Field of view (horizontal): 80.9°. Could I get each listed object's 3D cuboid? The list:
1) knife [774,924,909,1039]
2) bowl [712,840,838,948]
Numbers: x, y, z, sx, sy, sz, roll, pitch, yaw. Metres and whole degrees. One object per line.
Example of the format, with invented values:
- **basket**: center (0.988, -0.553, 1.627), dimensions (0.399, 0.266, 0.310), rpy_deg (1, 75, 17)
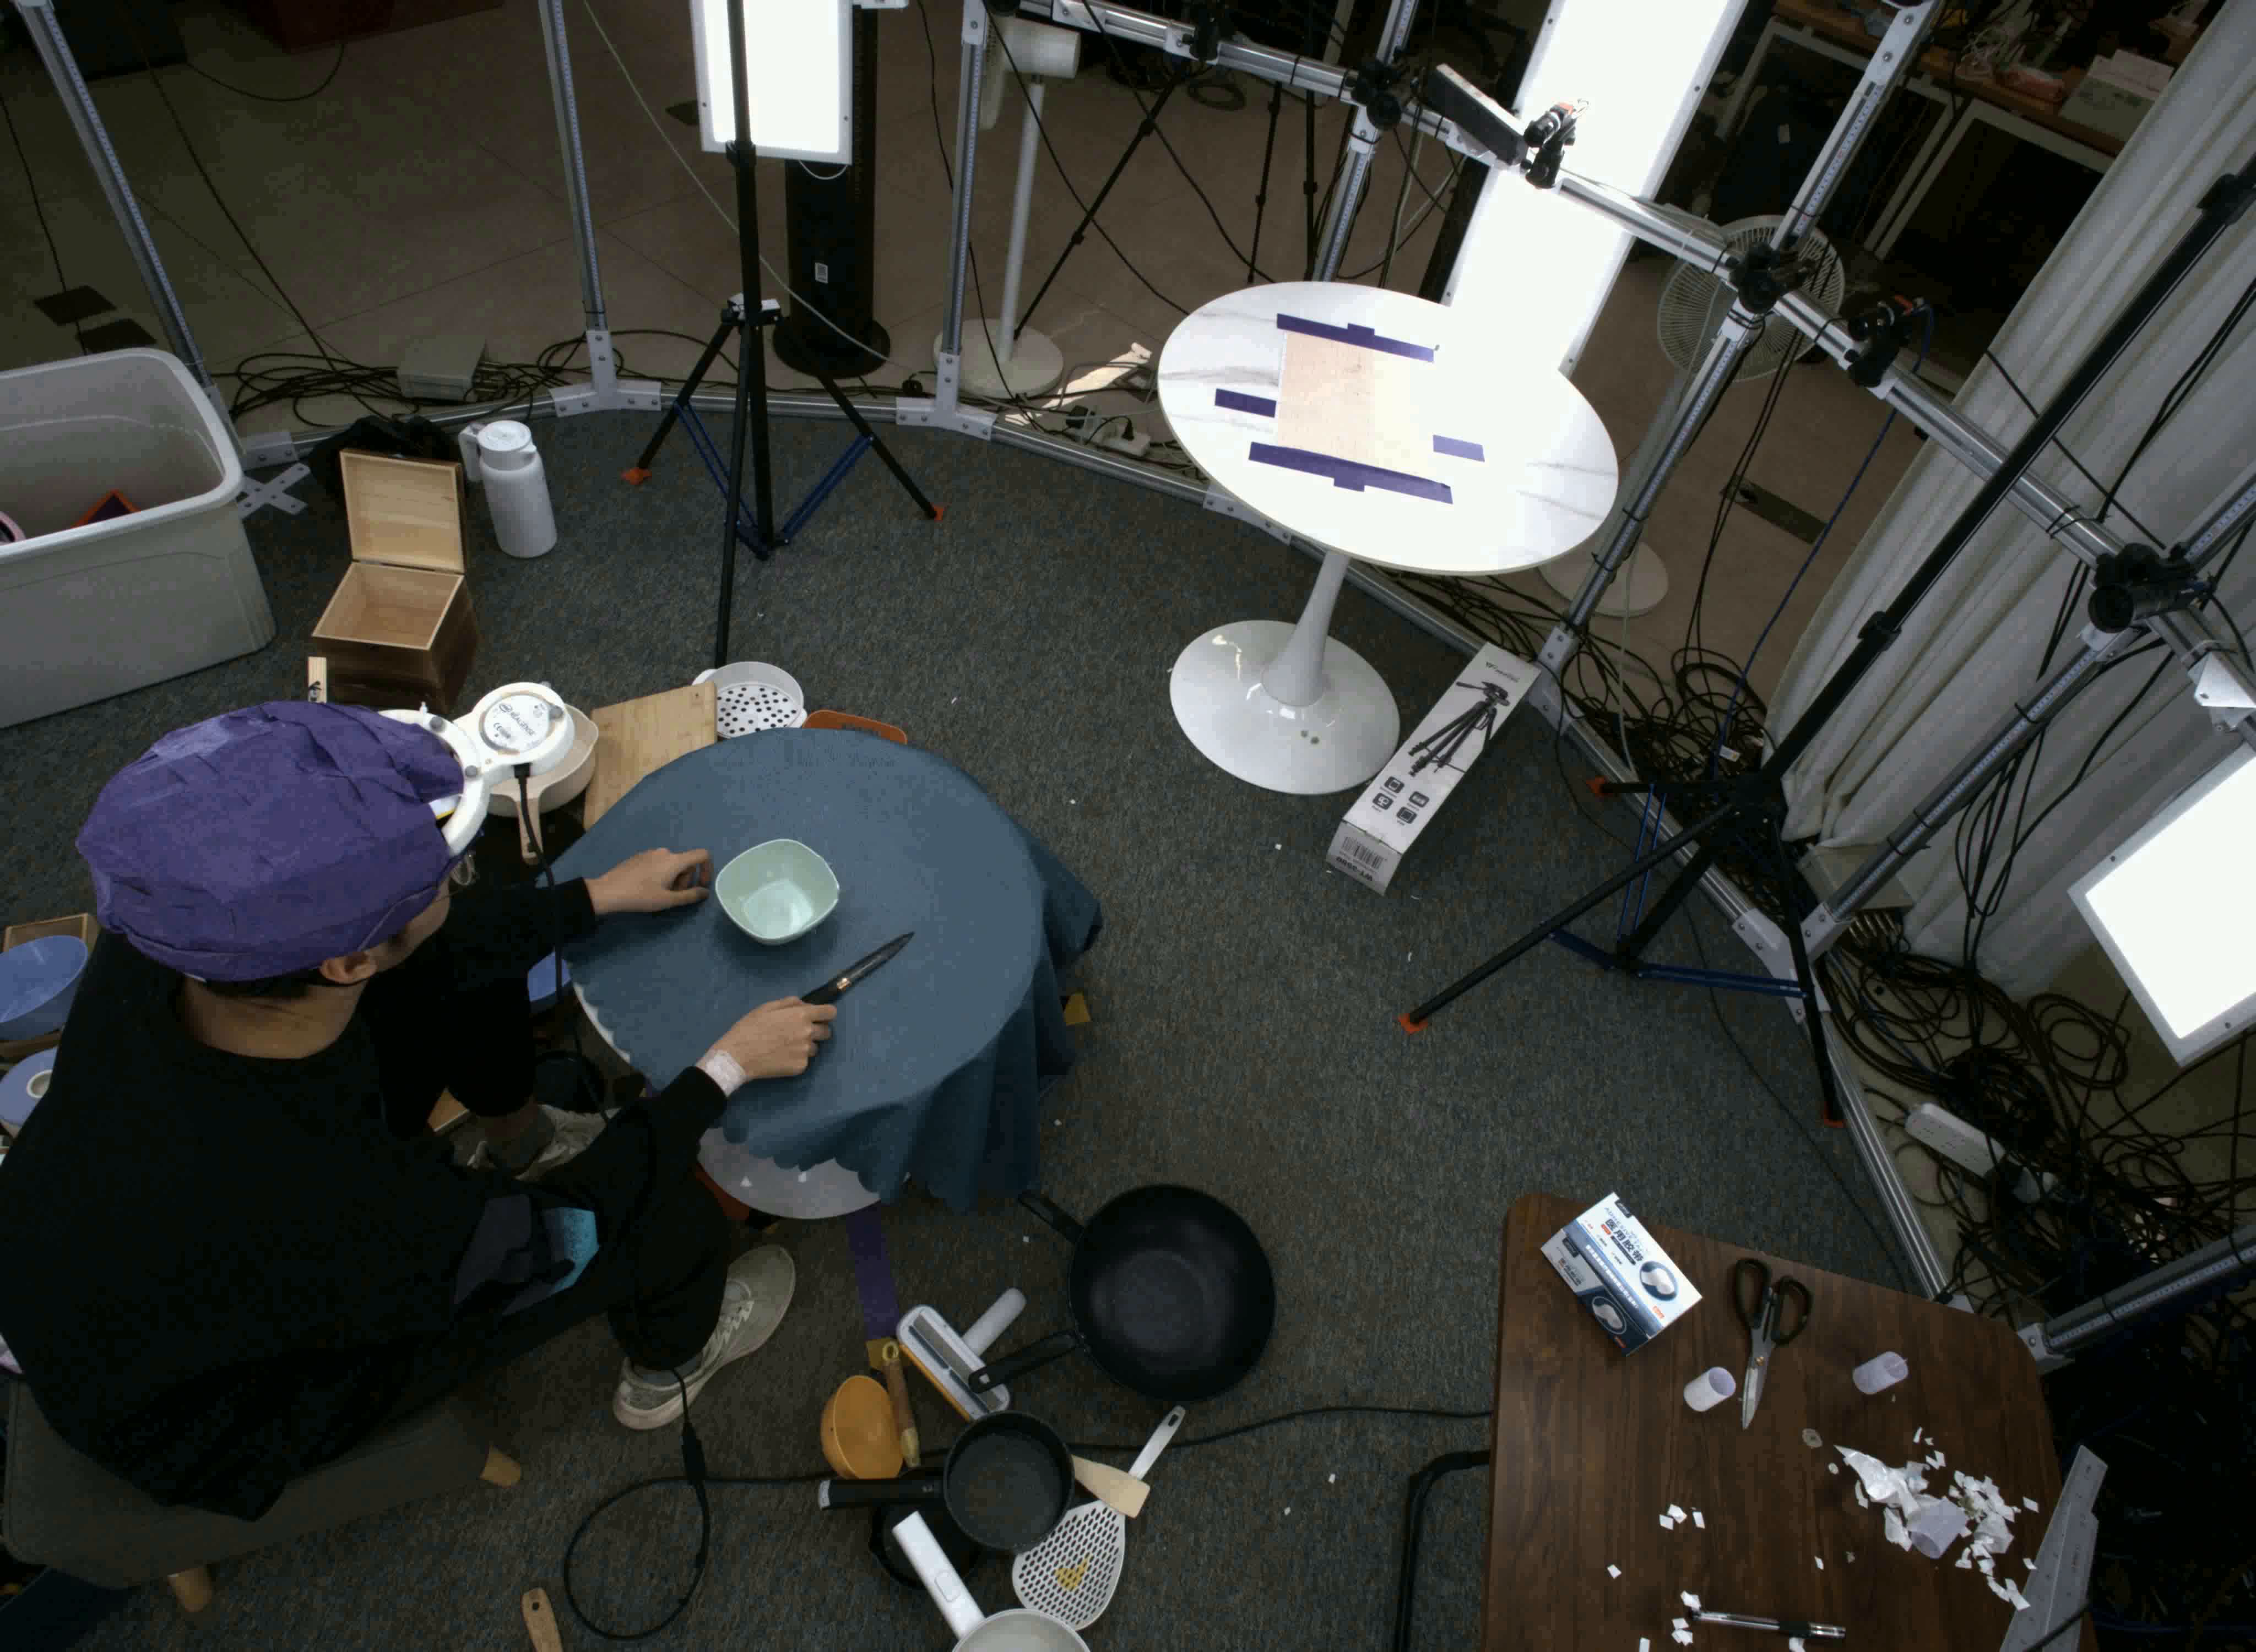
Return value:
- **knife**: center (-0.345, 0.185, 1.589), dimensions (0.025, 0.018, 0.226), rpy_deg (34, 51, 22)
- **bowl**: center (-0.436, 0.093, 1.605), dimensions (0.151, 0.060, 0.149), rpy_deg (9, 53, -10)
